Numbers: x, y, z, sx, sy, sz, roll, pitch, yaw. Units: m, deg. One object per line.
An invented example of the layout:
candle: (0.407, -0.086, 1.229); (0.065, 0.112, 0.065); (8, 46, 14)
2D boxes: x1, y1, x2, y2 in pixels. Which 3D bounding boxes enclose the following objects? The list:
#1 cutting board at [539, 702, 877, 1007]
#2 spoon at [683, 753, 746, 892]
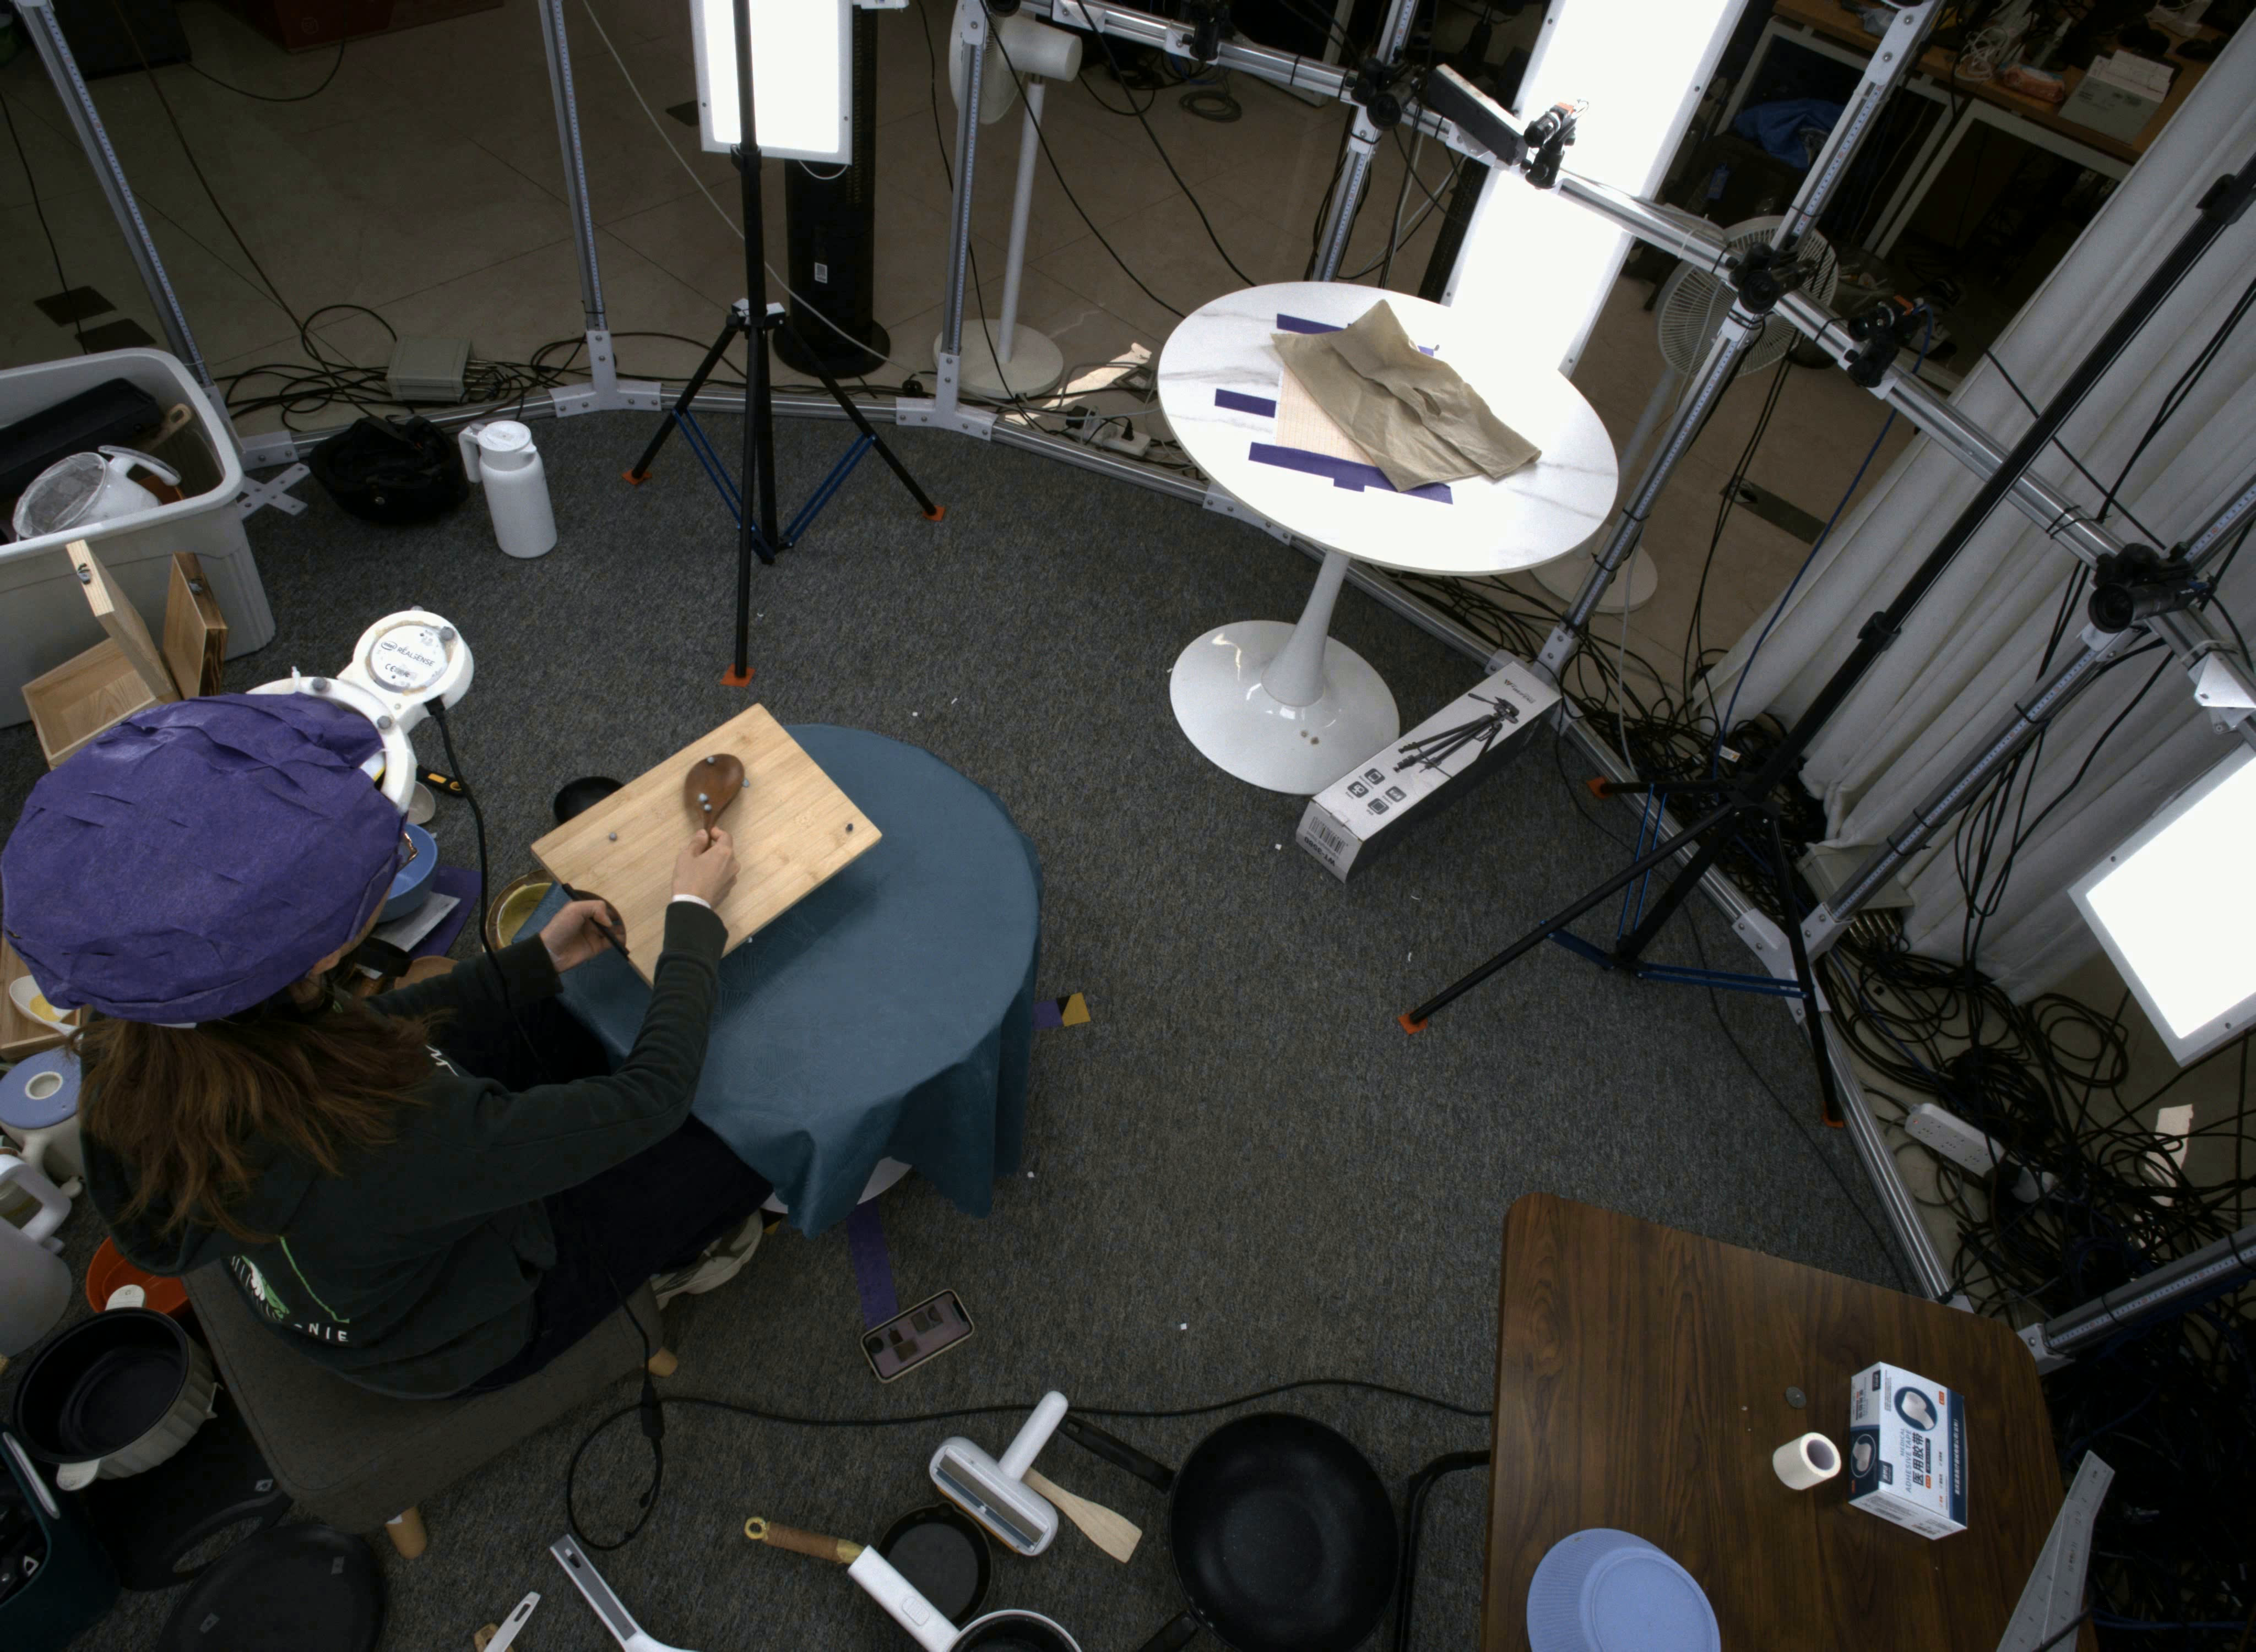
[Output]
cutting board: (-0.507, 0.022, 1.559); (0.249, 0.023, 0.349); (46, 55, 3)
spoon: (-0.496, -0.009, 1.524); (0.075, 0.018, 0.211); (-5, 48, -2)
